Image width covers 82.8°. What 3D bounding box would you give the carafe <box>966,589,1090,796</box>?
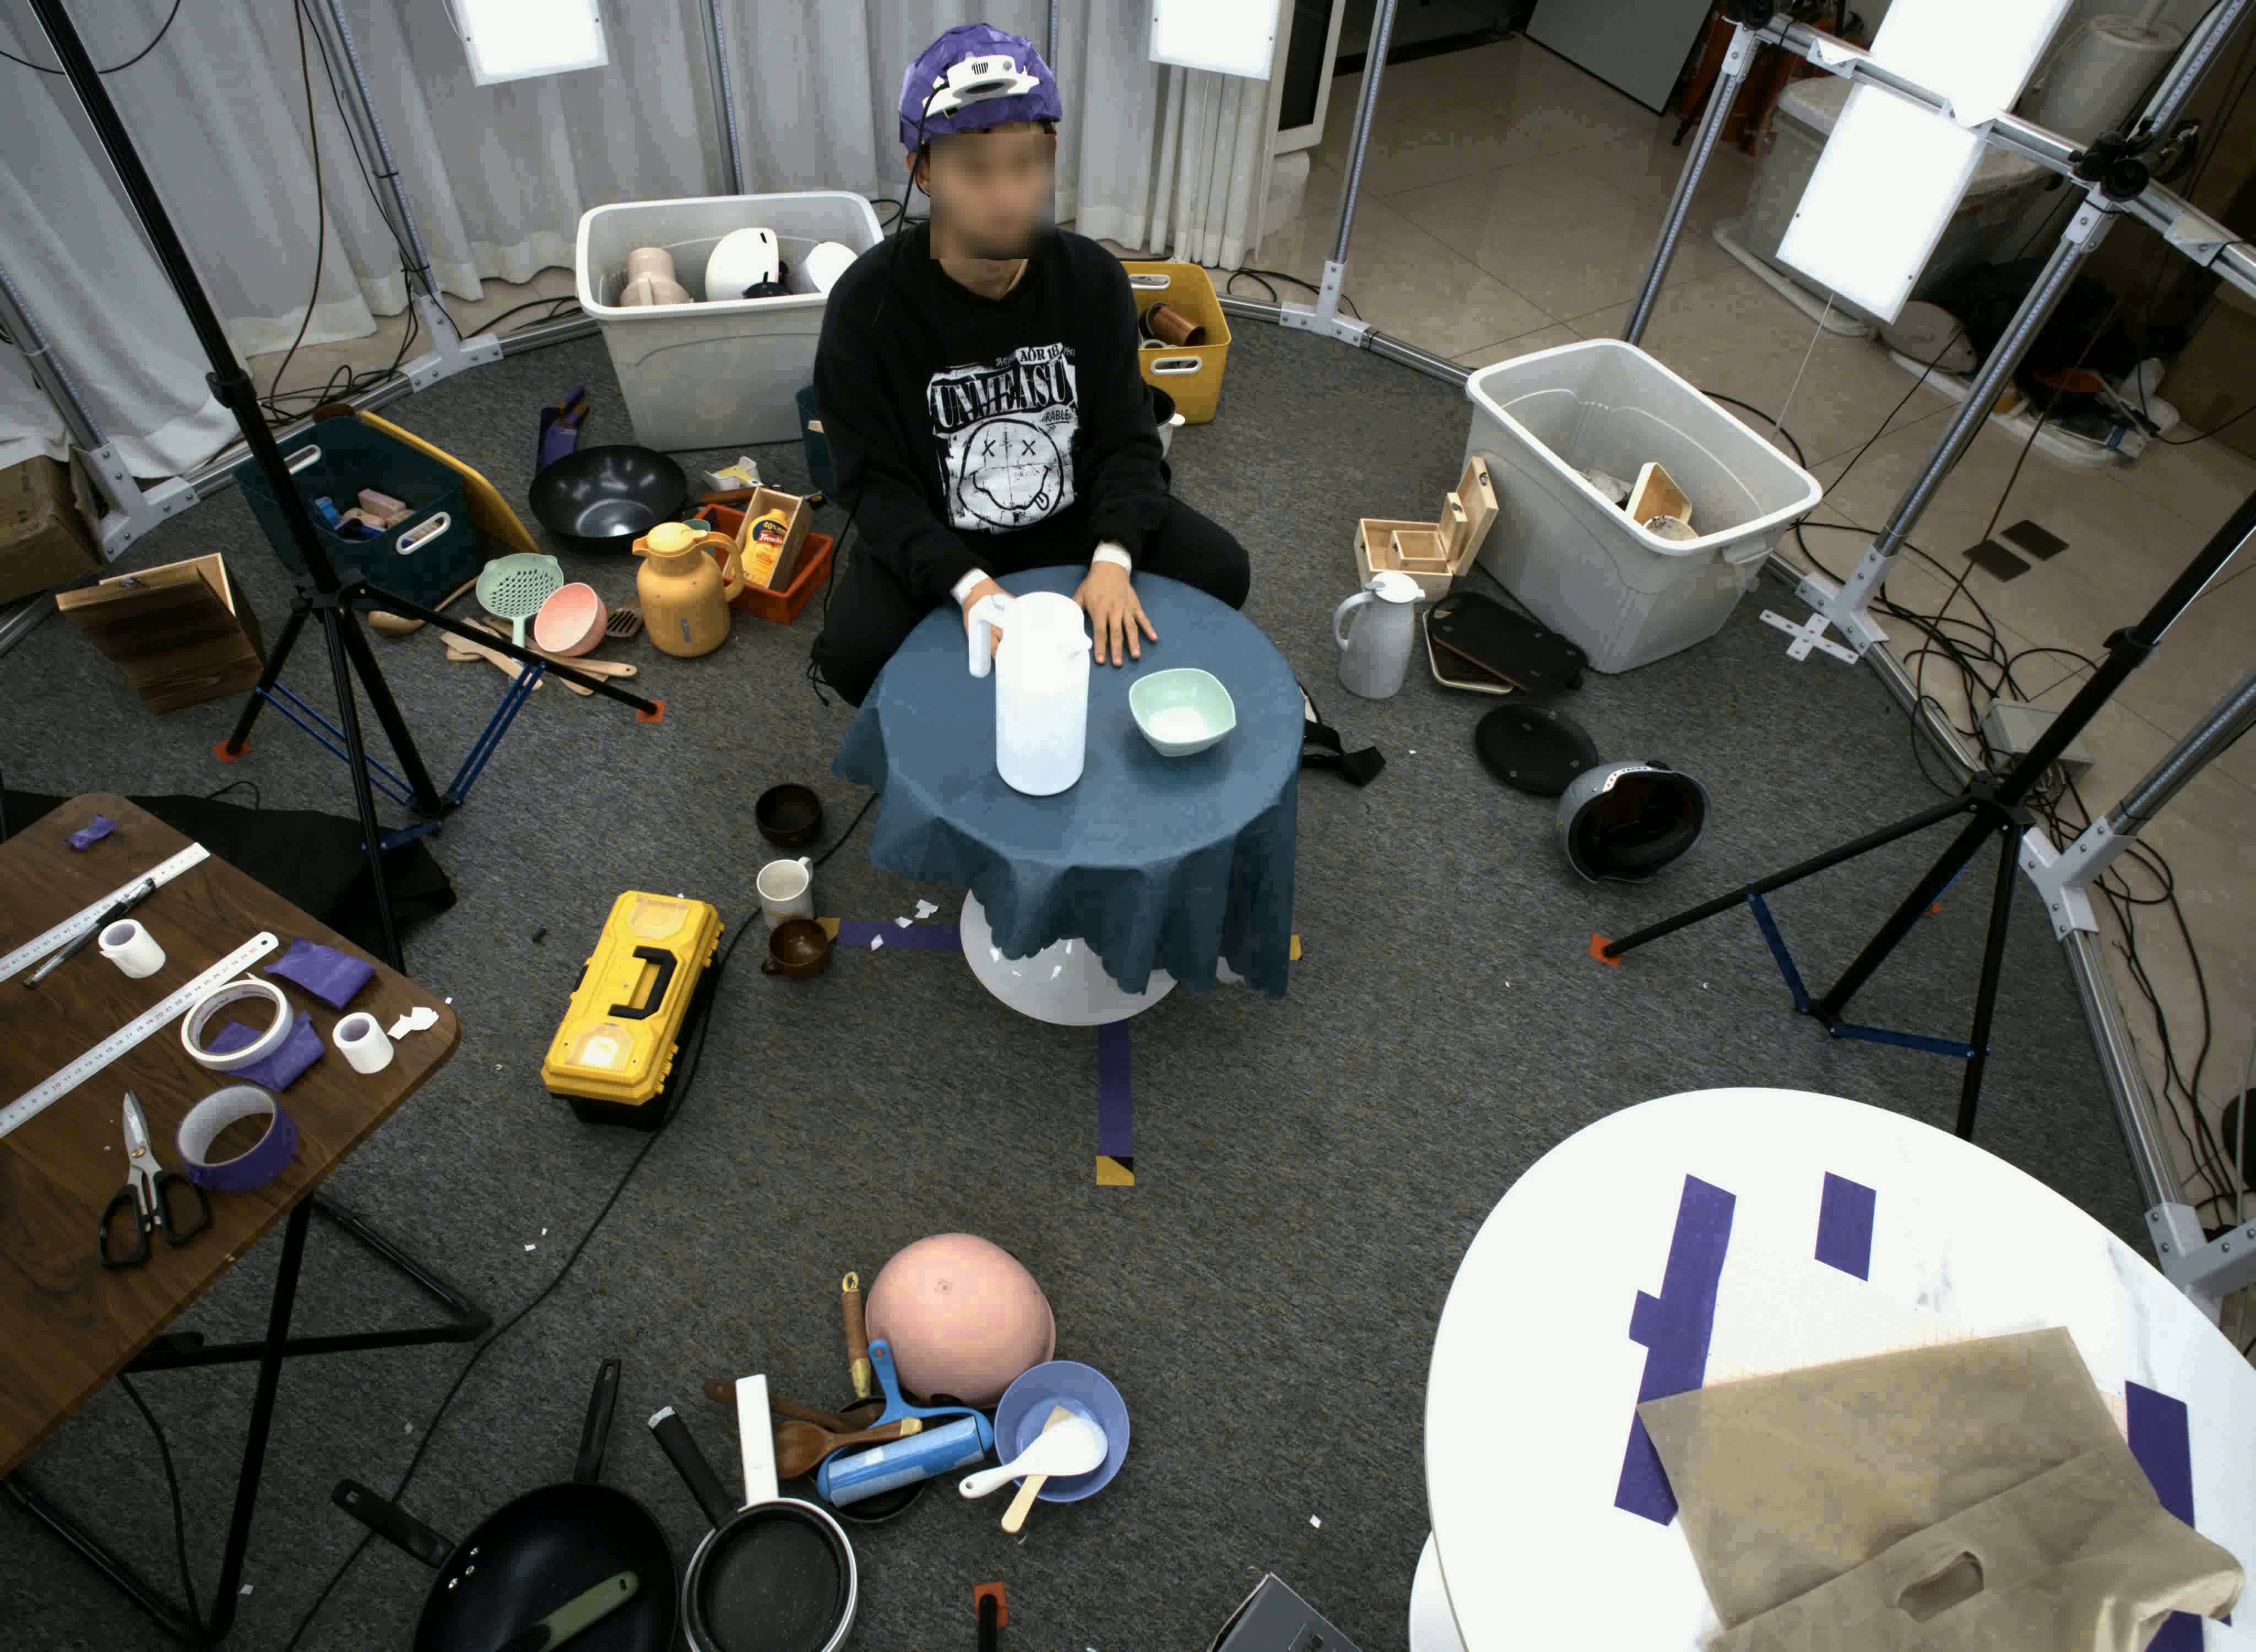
[{"bbox_3d":[-0.127,-0.172,1.639,0.174,0.262,0.126,26,55,18],"label":"carafe"}]

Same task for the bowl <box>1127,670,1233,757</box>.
[{"bbox_3d":[0.069,-0.146,1.766,0.151,0.057,0.155,2,49,-2],"label":"bowl"}]
